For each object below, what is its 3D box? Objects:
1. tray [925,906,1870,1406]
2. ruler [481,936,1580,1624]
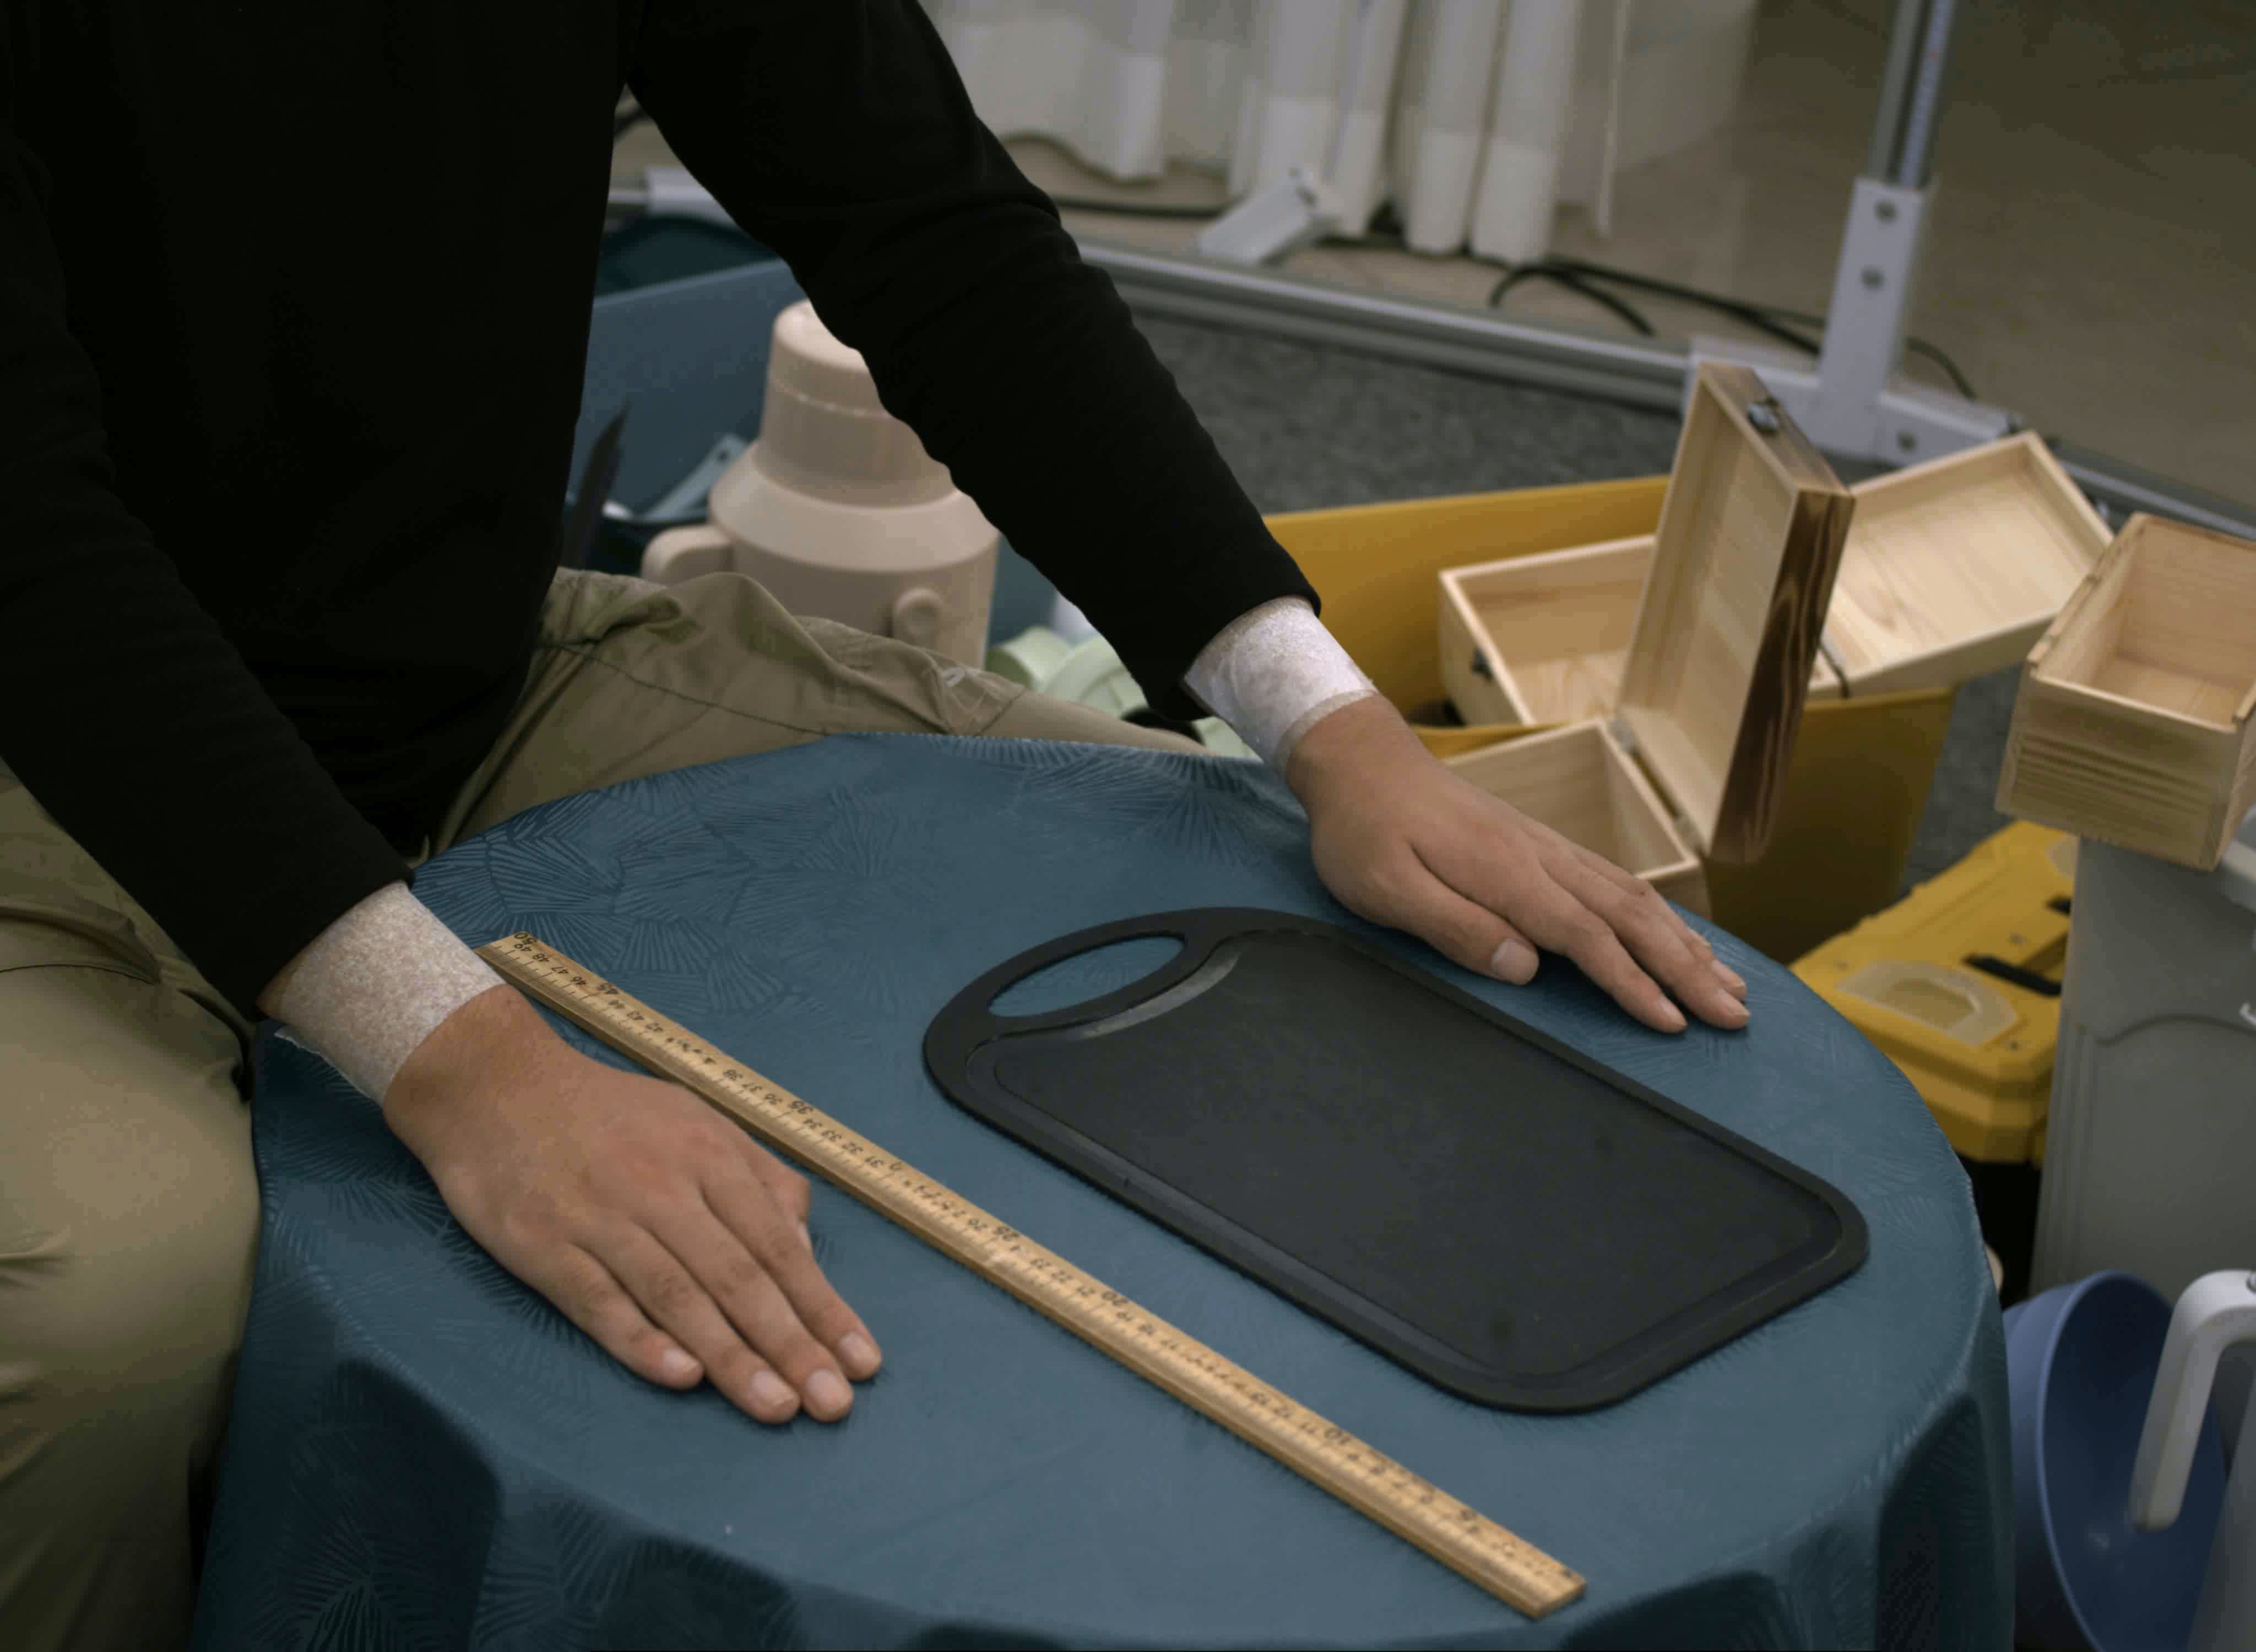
[{"bbox_3d":[0.085,0.105,1.849,0.328,0.010,0.210,28,34,36],"label":"tray"},{"bbox_3d":[-0.046,0.139,1.755,0.504,0.006,0.026,29,32,37],"label":"ruler"}]
